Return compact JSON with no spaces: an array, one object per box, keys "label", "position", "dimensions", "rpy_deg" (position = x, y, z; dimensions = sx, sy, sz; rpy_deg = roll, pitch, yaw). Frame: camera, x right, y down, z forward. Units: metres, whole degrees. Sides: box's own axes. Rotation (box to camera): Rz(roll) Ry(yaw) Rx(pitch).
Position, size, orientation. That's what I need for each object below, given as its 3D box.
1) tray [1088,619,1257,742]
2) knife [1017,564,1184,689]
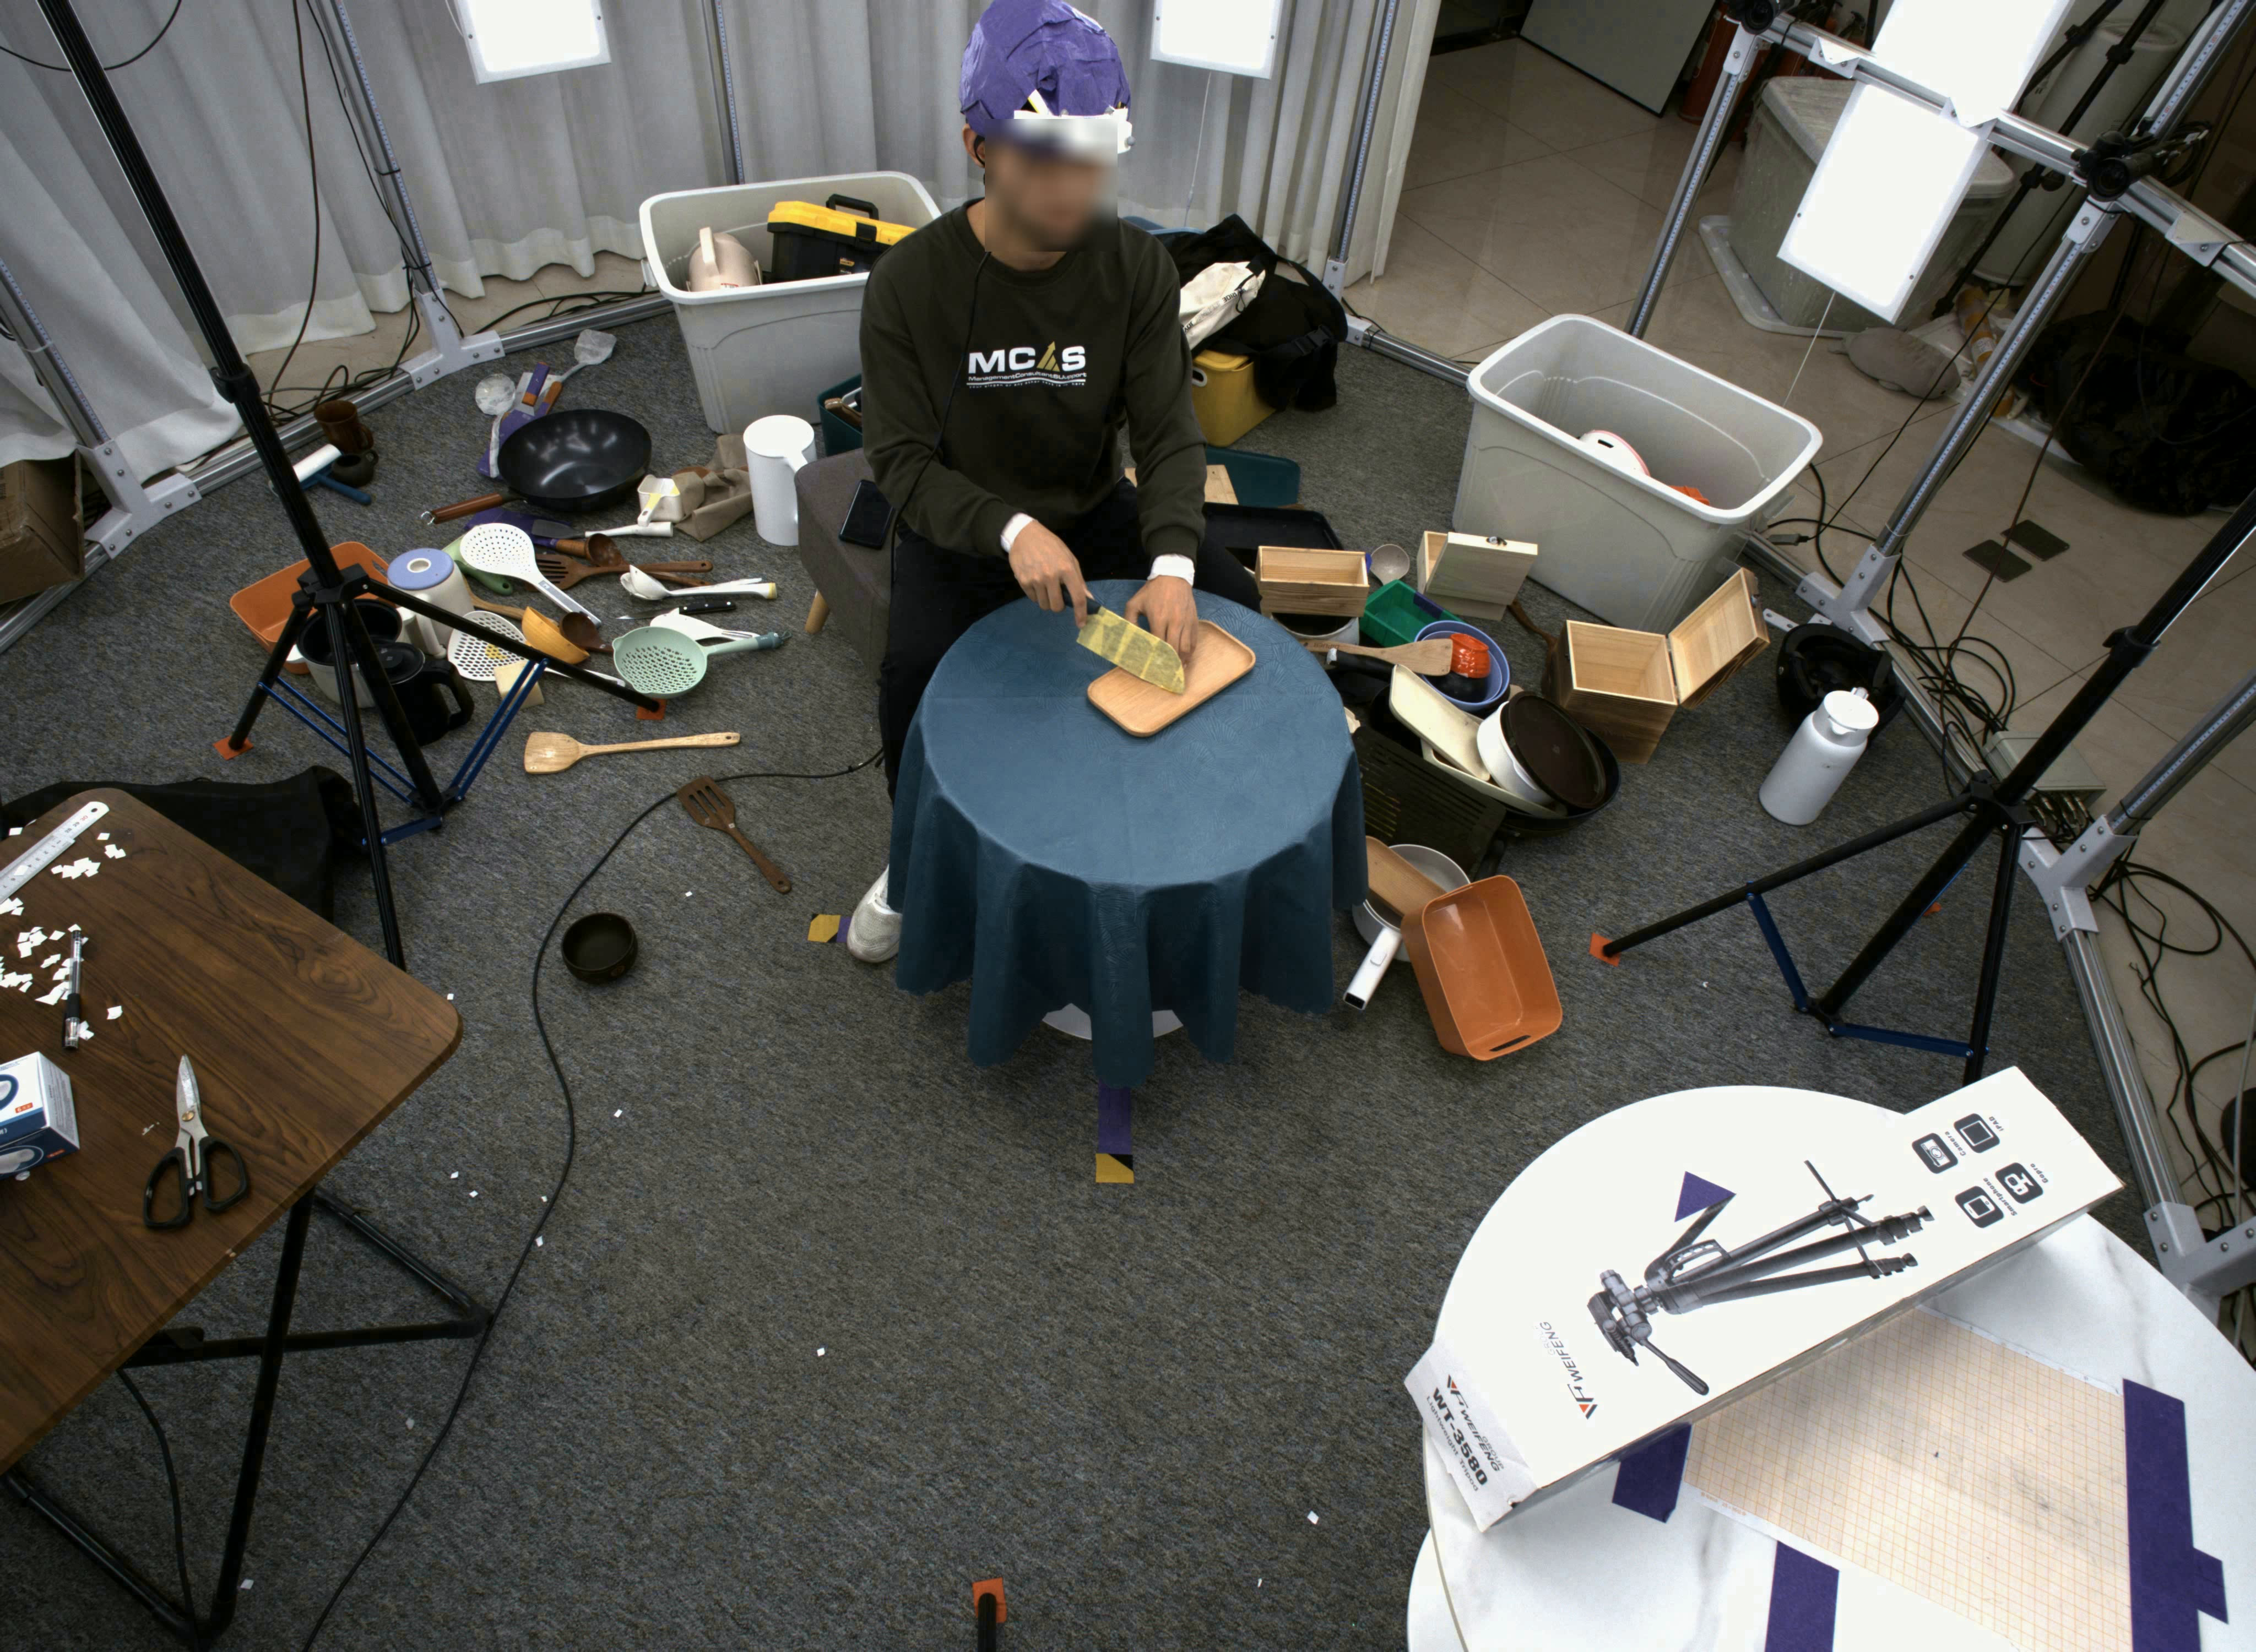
[{"label":"tray","position":[0.066,-0.211,1.850],"dimensions":[0.253,0.022,0.132],"rpy_deg":[-36,57,-26]},{"label":"knife","position":[-0.040,-0.283,1.829],"dimensions":[0.291,0.079,0.027],"rpy_deg":[34,36,7]}]
